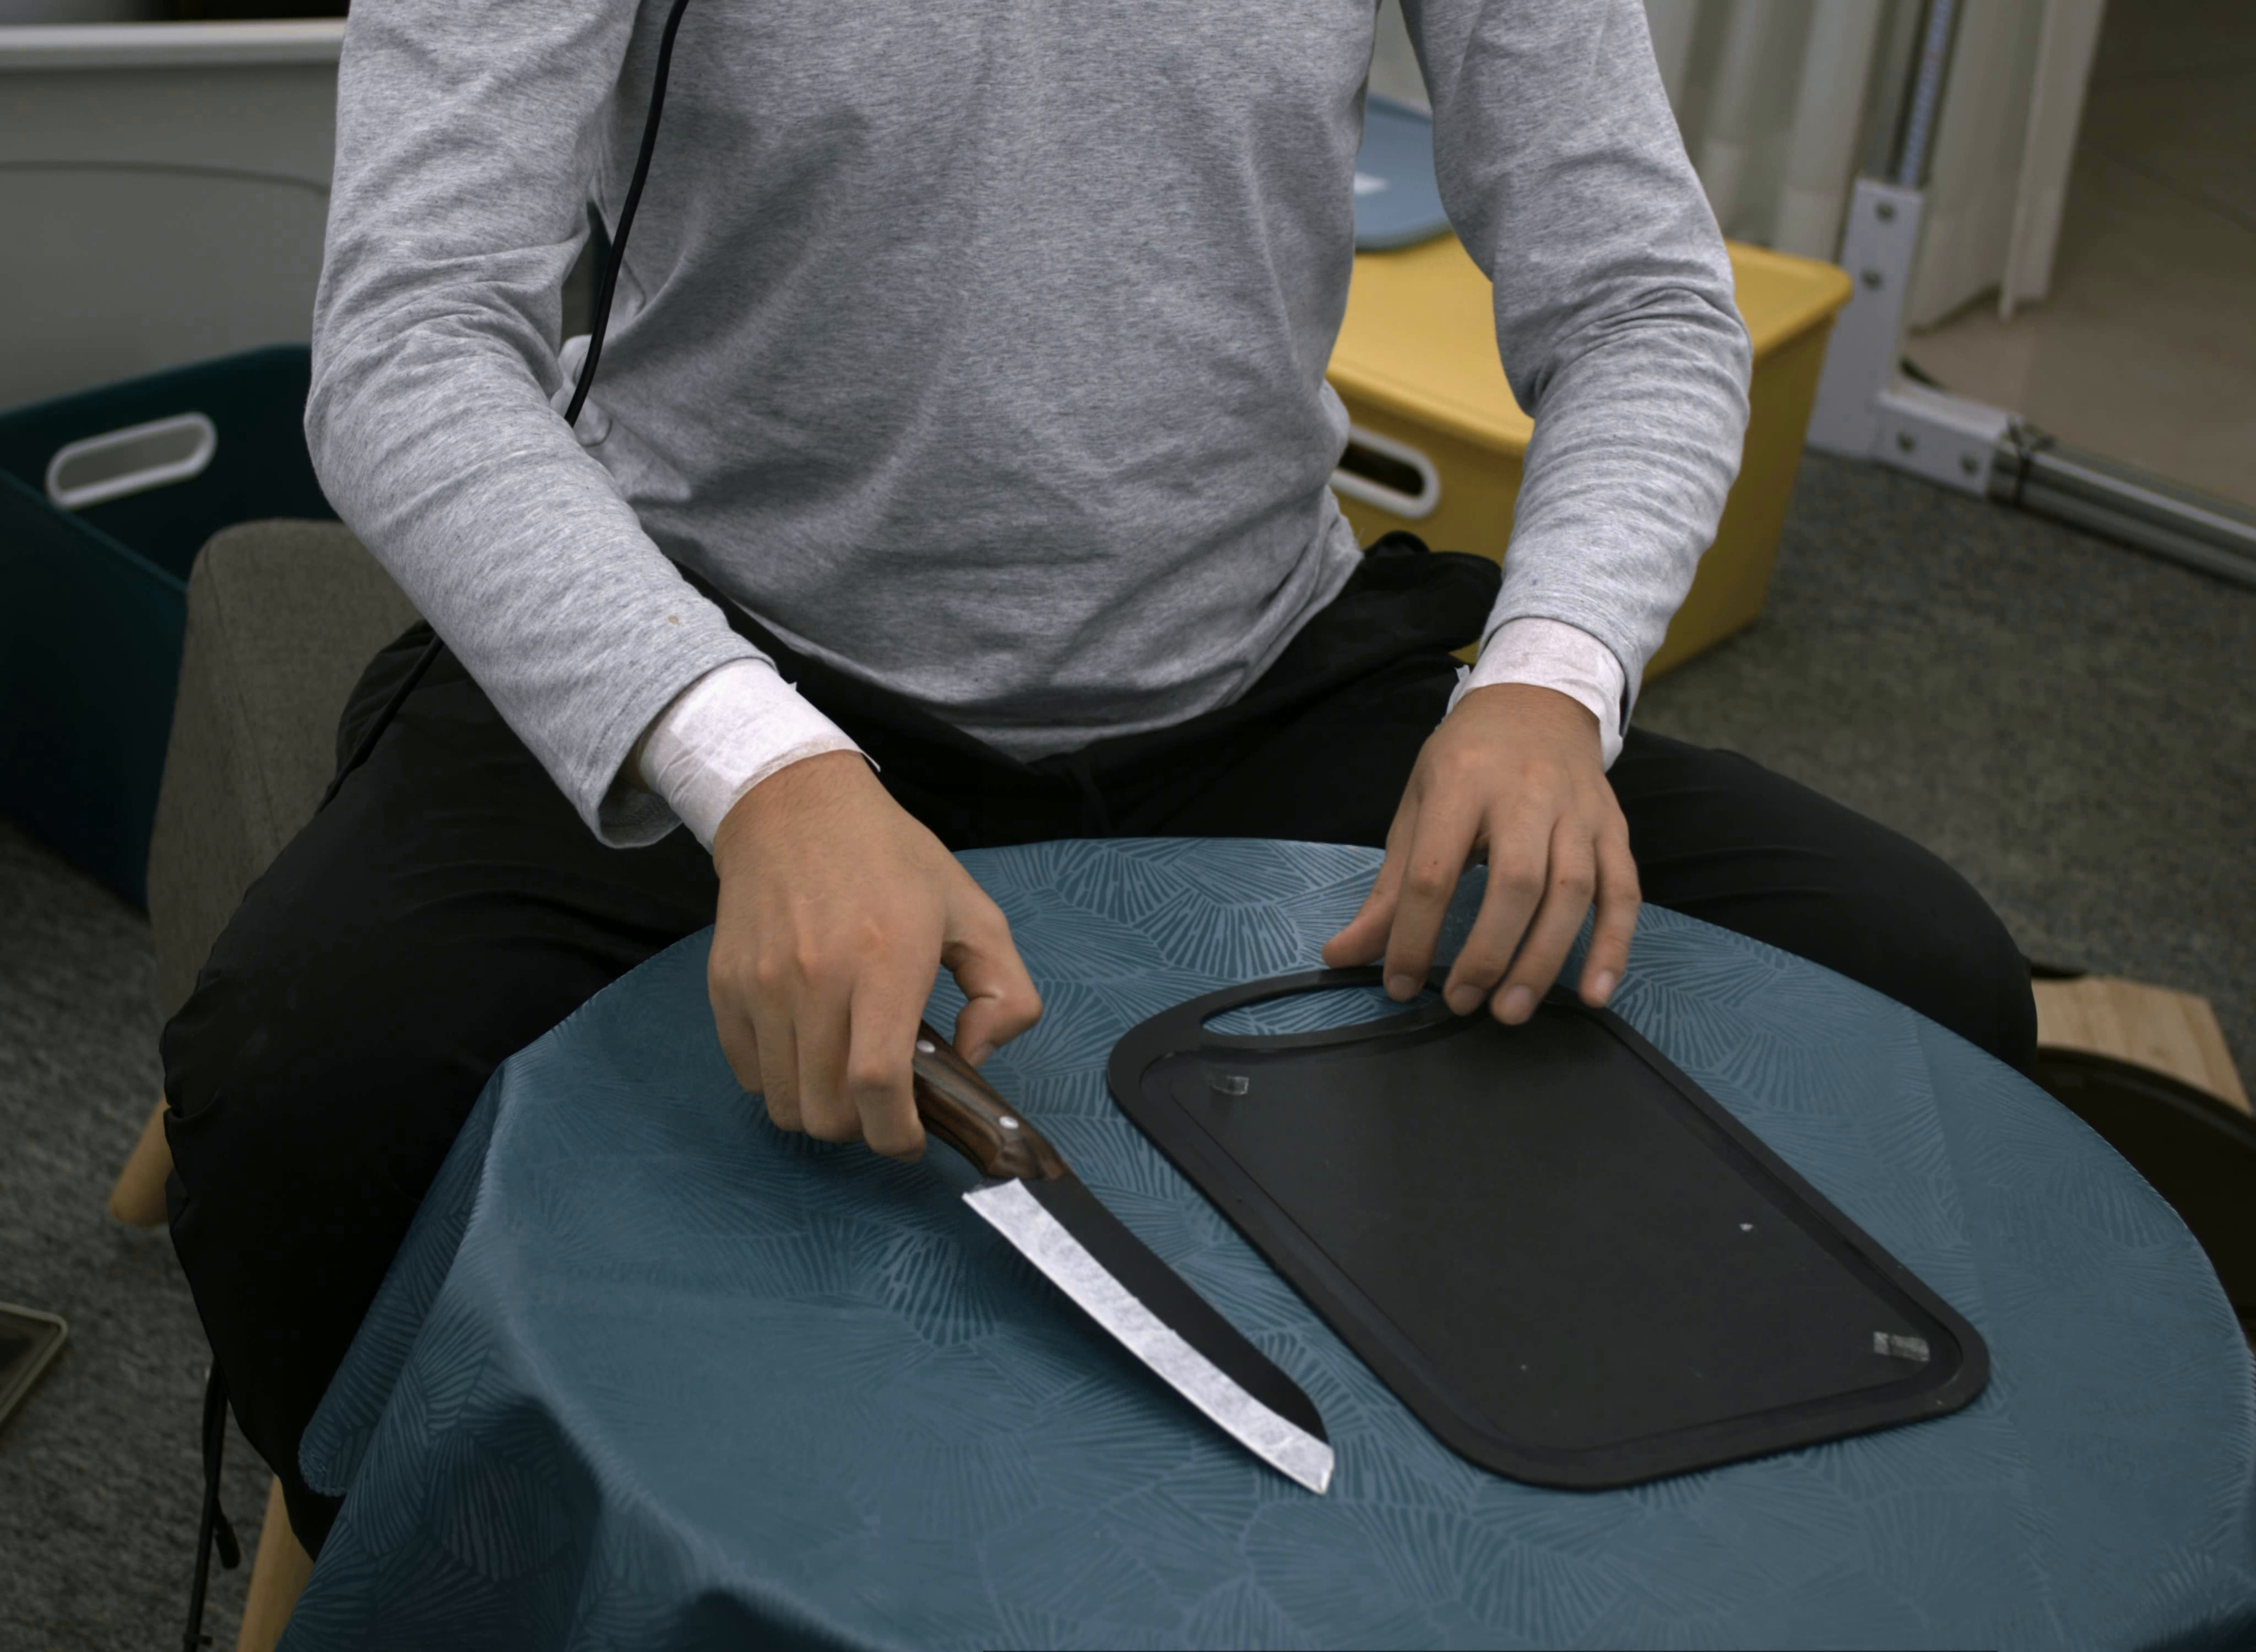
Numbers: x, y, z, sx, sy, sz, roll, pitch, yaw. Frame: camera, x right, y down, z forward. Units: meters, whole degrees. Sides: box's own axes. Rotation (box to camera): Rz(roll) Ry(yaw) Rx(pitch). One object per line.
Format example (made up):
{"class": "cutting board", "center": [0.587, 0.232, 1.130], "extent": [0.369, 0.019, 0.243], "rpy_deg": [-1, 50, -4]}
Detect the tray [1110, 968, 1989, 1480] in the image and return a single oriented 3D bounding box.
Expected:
{"class": "tray", "center": [0.135, 0.127, 1.824], "extent": [0.210, 0.010, 0.328], "rpy_deg": [-8, 30, -27]}

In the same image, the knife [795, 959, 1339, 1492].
{"class": "knife", "center": [-0.023, 0.130, 1.743], "extent": [0.050, 0.020, 0.291], "rpy_deg": [-13, 40, -37]}
